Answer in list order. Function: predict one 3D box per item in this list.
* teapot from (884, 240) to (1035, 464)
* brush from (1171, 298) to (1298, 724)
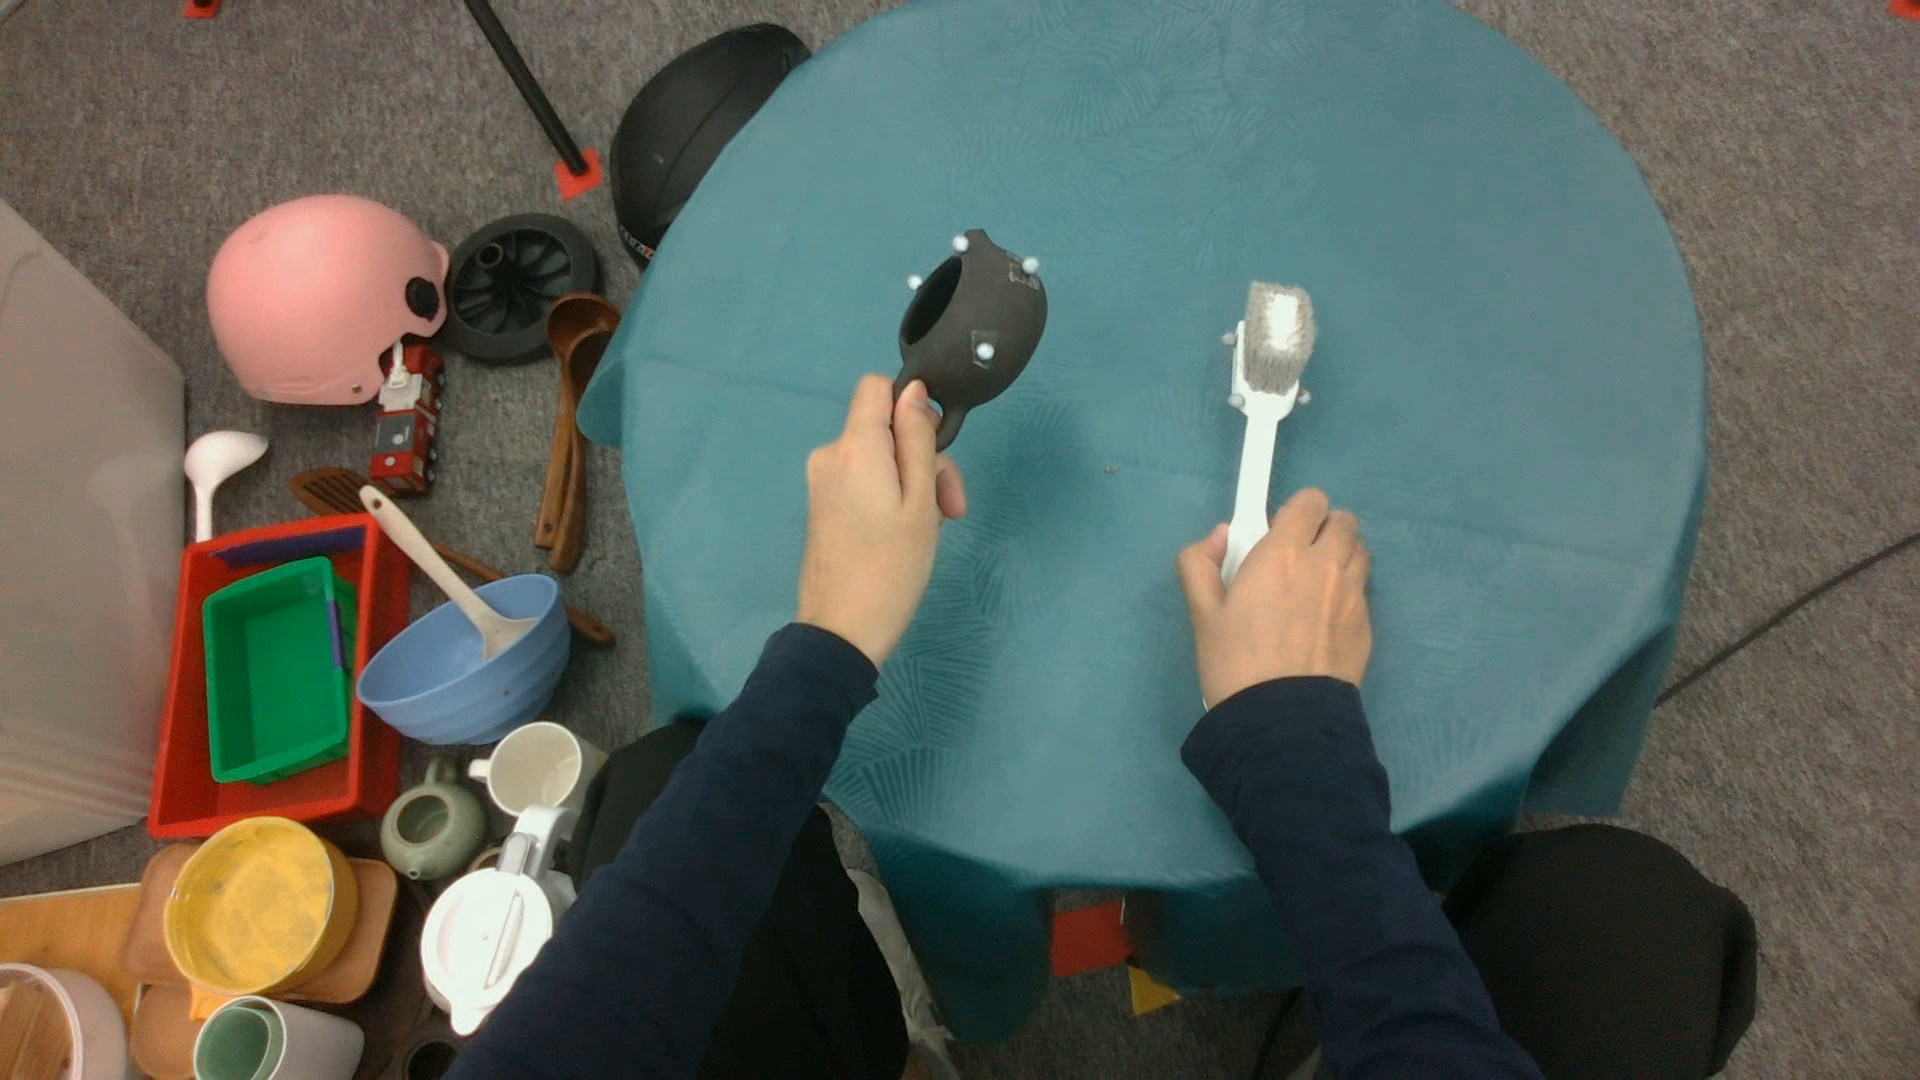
[{"bbox_3d":[-0.005,-0.092,0.690,0.053,0.083,0.114,30,77,-26],"label":"teapot"},{"bbox_3d":[0.141,-0.025,0.705,0.034,0.050,0.245,15,61,0],"label":"brush"}]
